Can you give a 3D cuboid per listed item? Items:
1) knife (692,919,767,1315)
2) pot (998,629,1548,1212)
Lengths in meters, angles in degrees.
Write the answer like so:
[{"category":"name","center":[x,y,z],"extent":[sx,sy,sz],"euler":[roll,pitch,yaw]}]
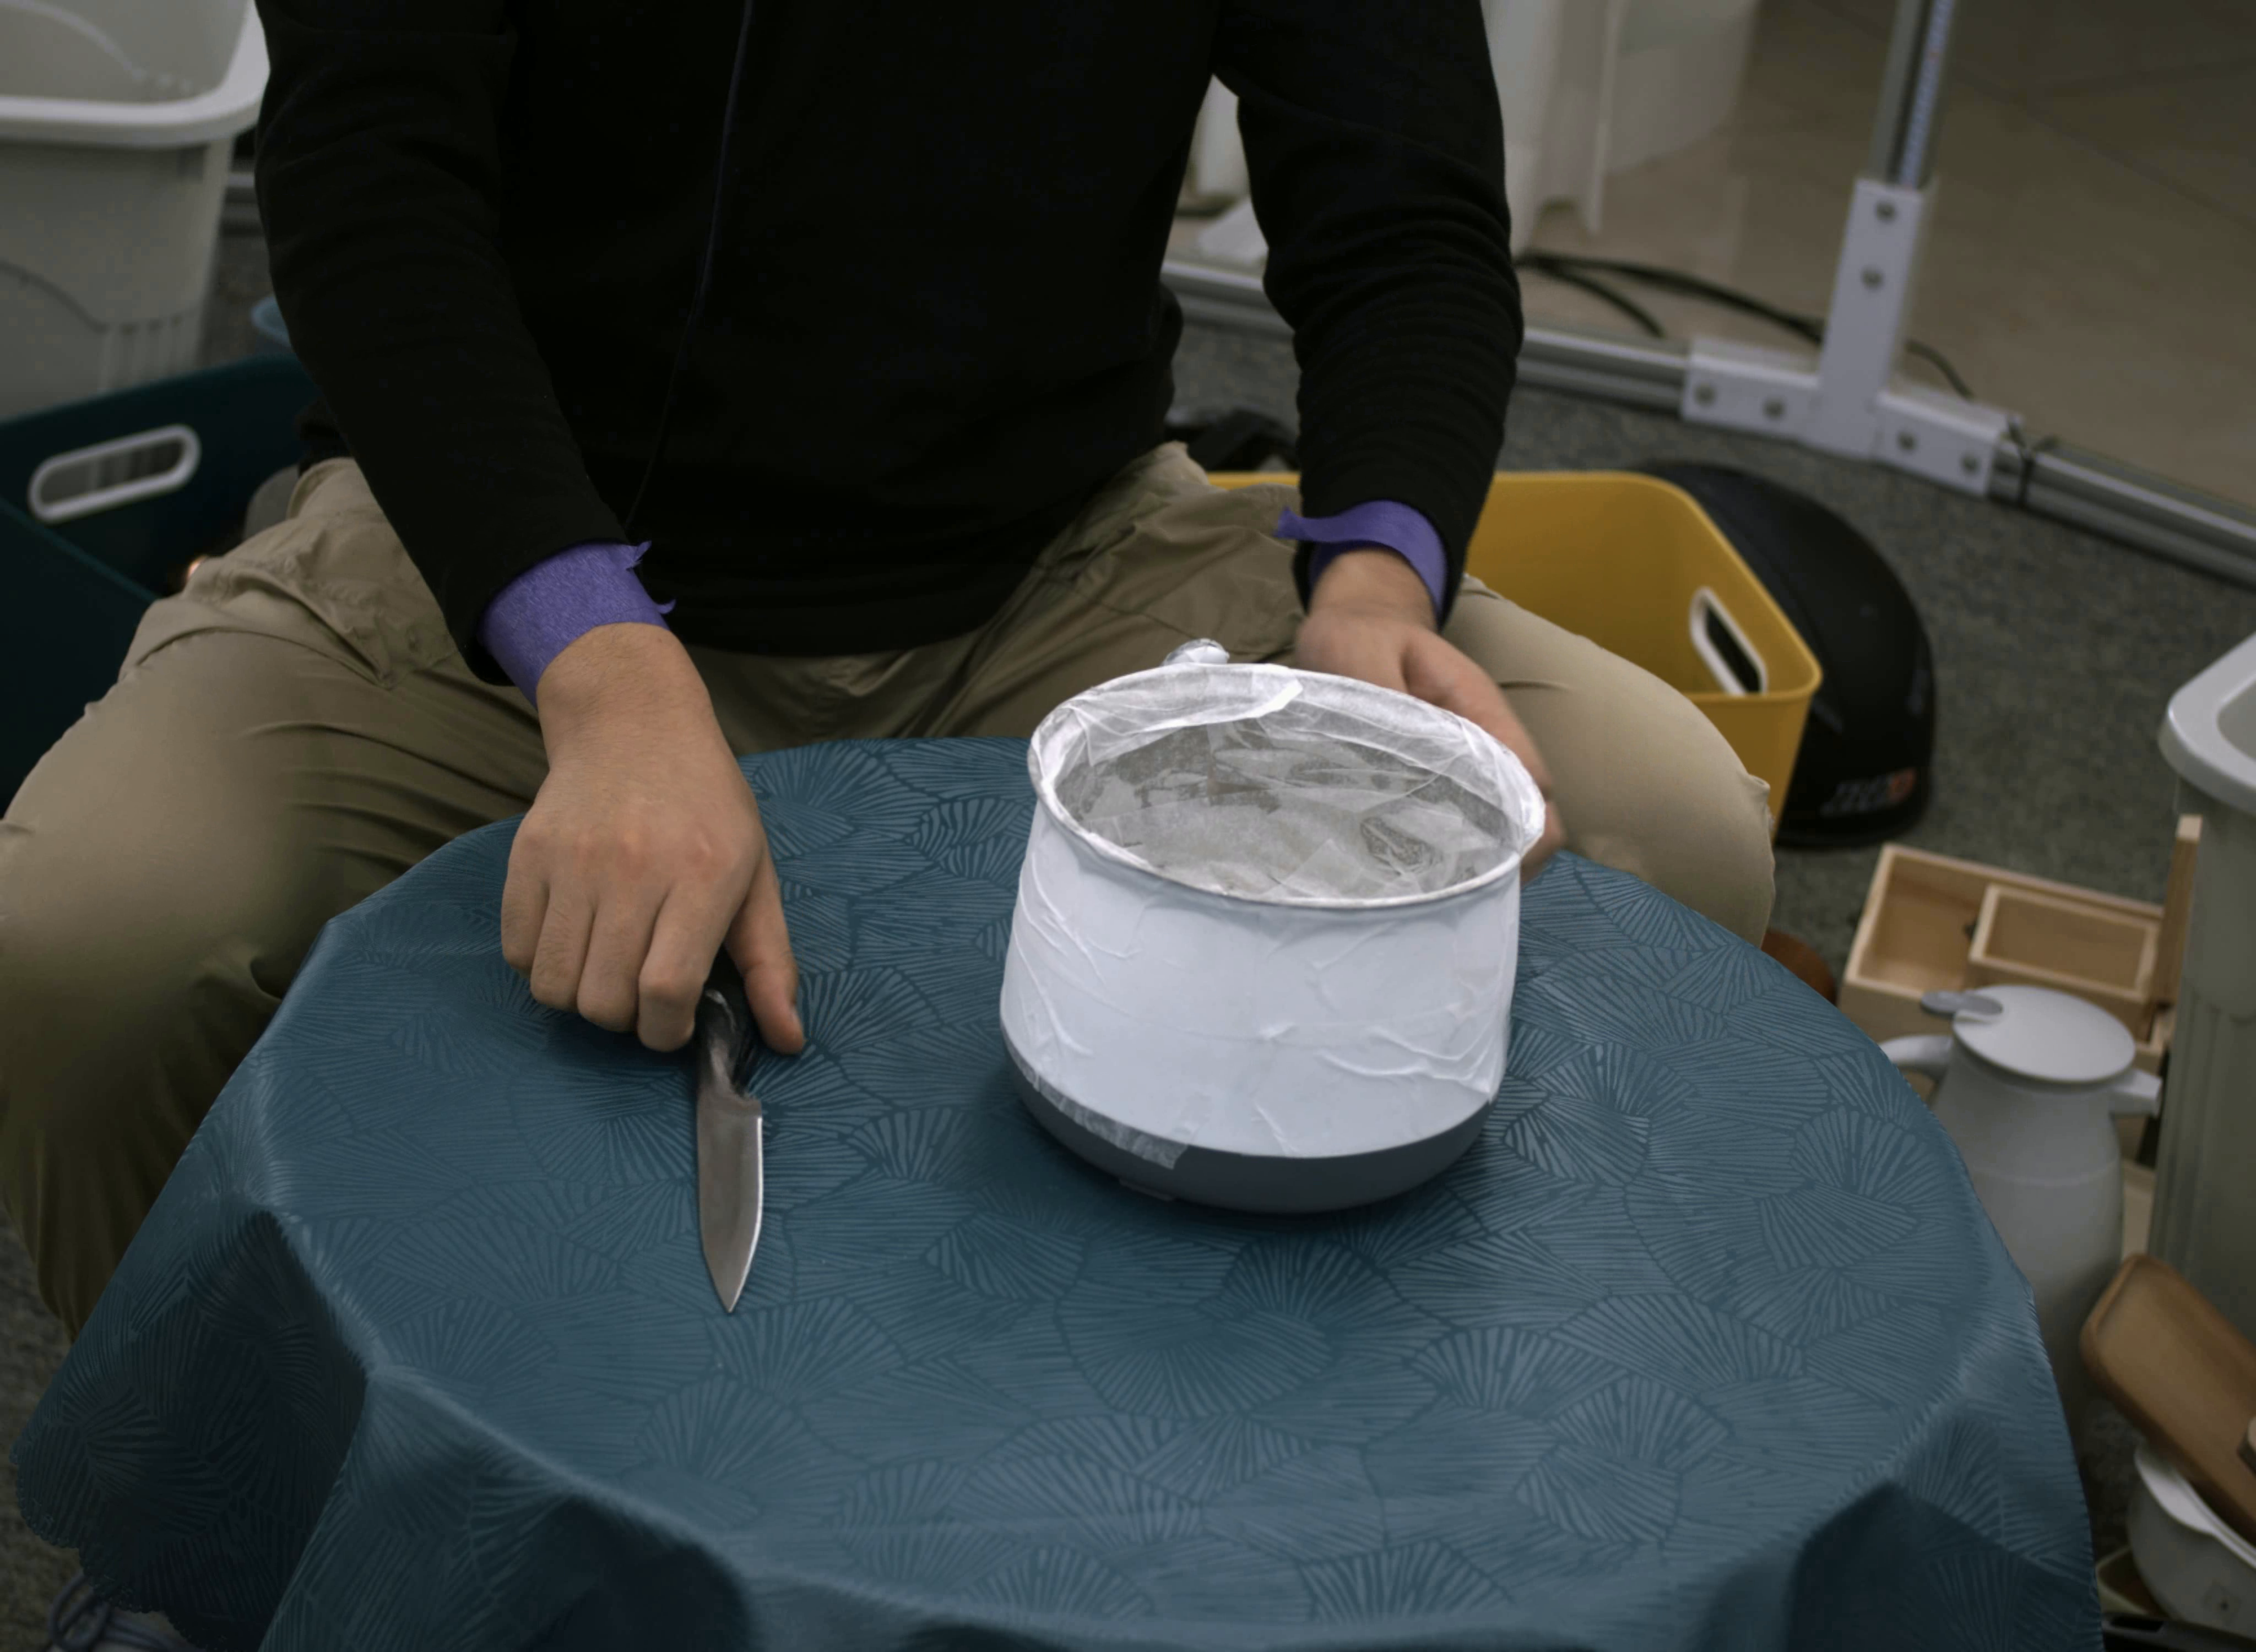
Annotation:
[{"category":"knife","center":[-0.137,0.097,1.813],"extent":[0.024,0.016,0.240],"euler":[2,30,-6]},{"category":"pot","center":[0.039,0.025,1.851],"extent":[0.177,0.136,0.236],"euler":[-2,29,-18]}]
